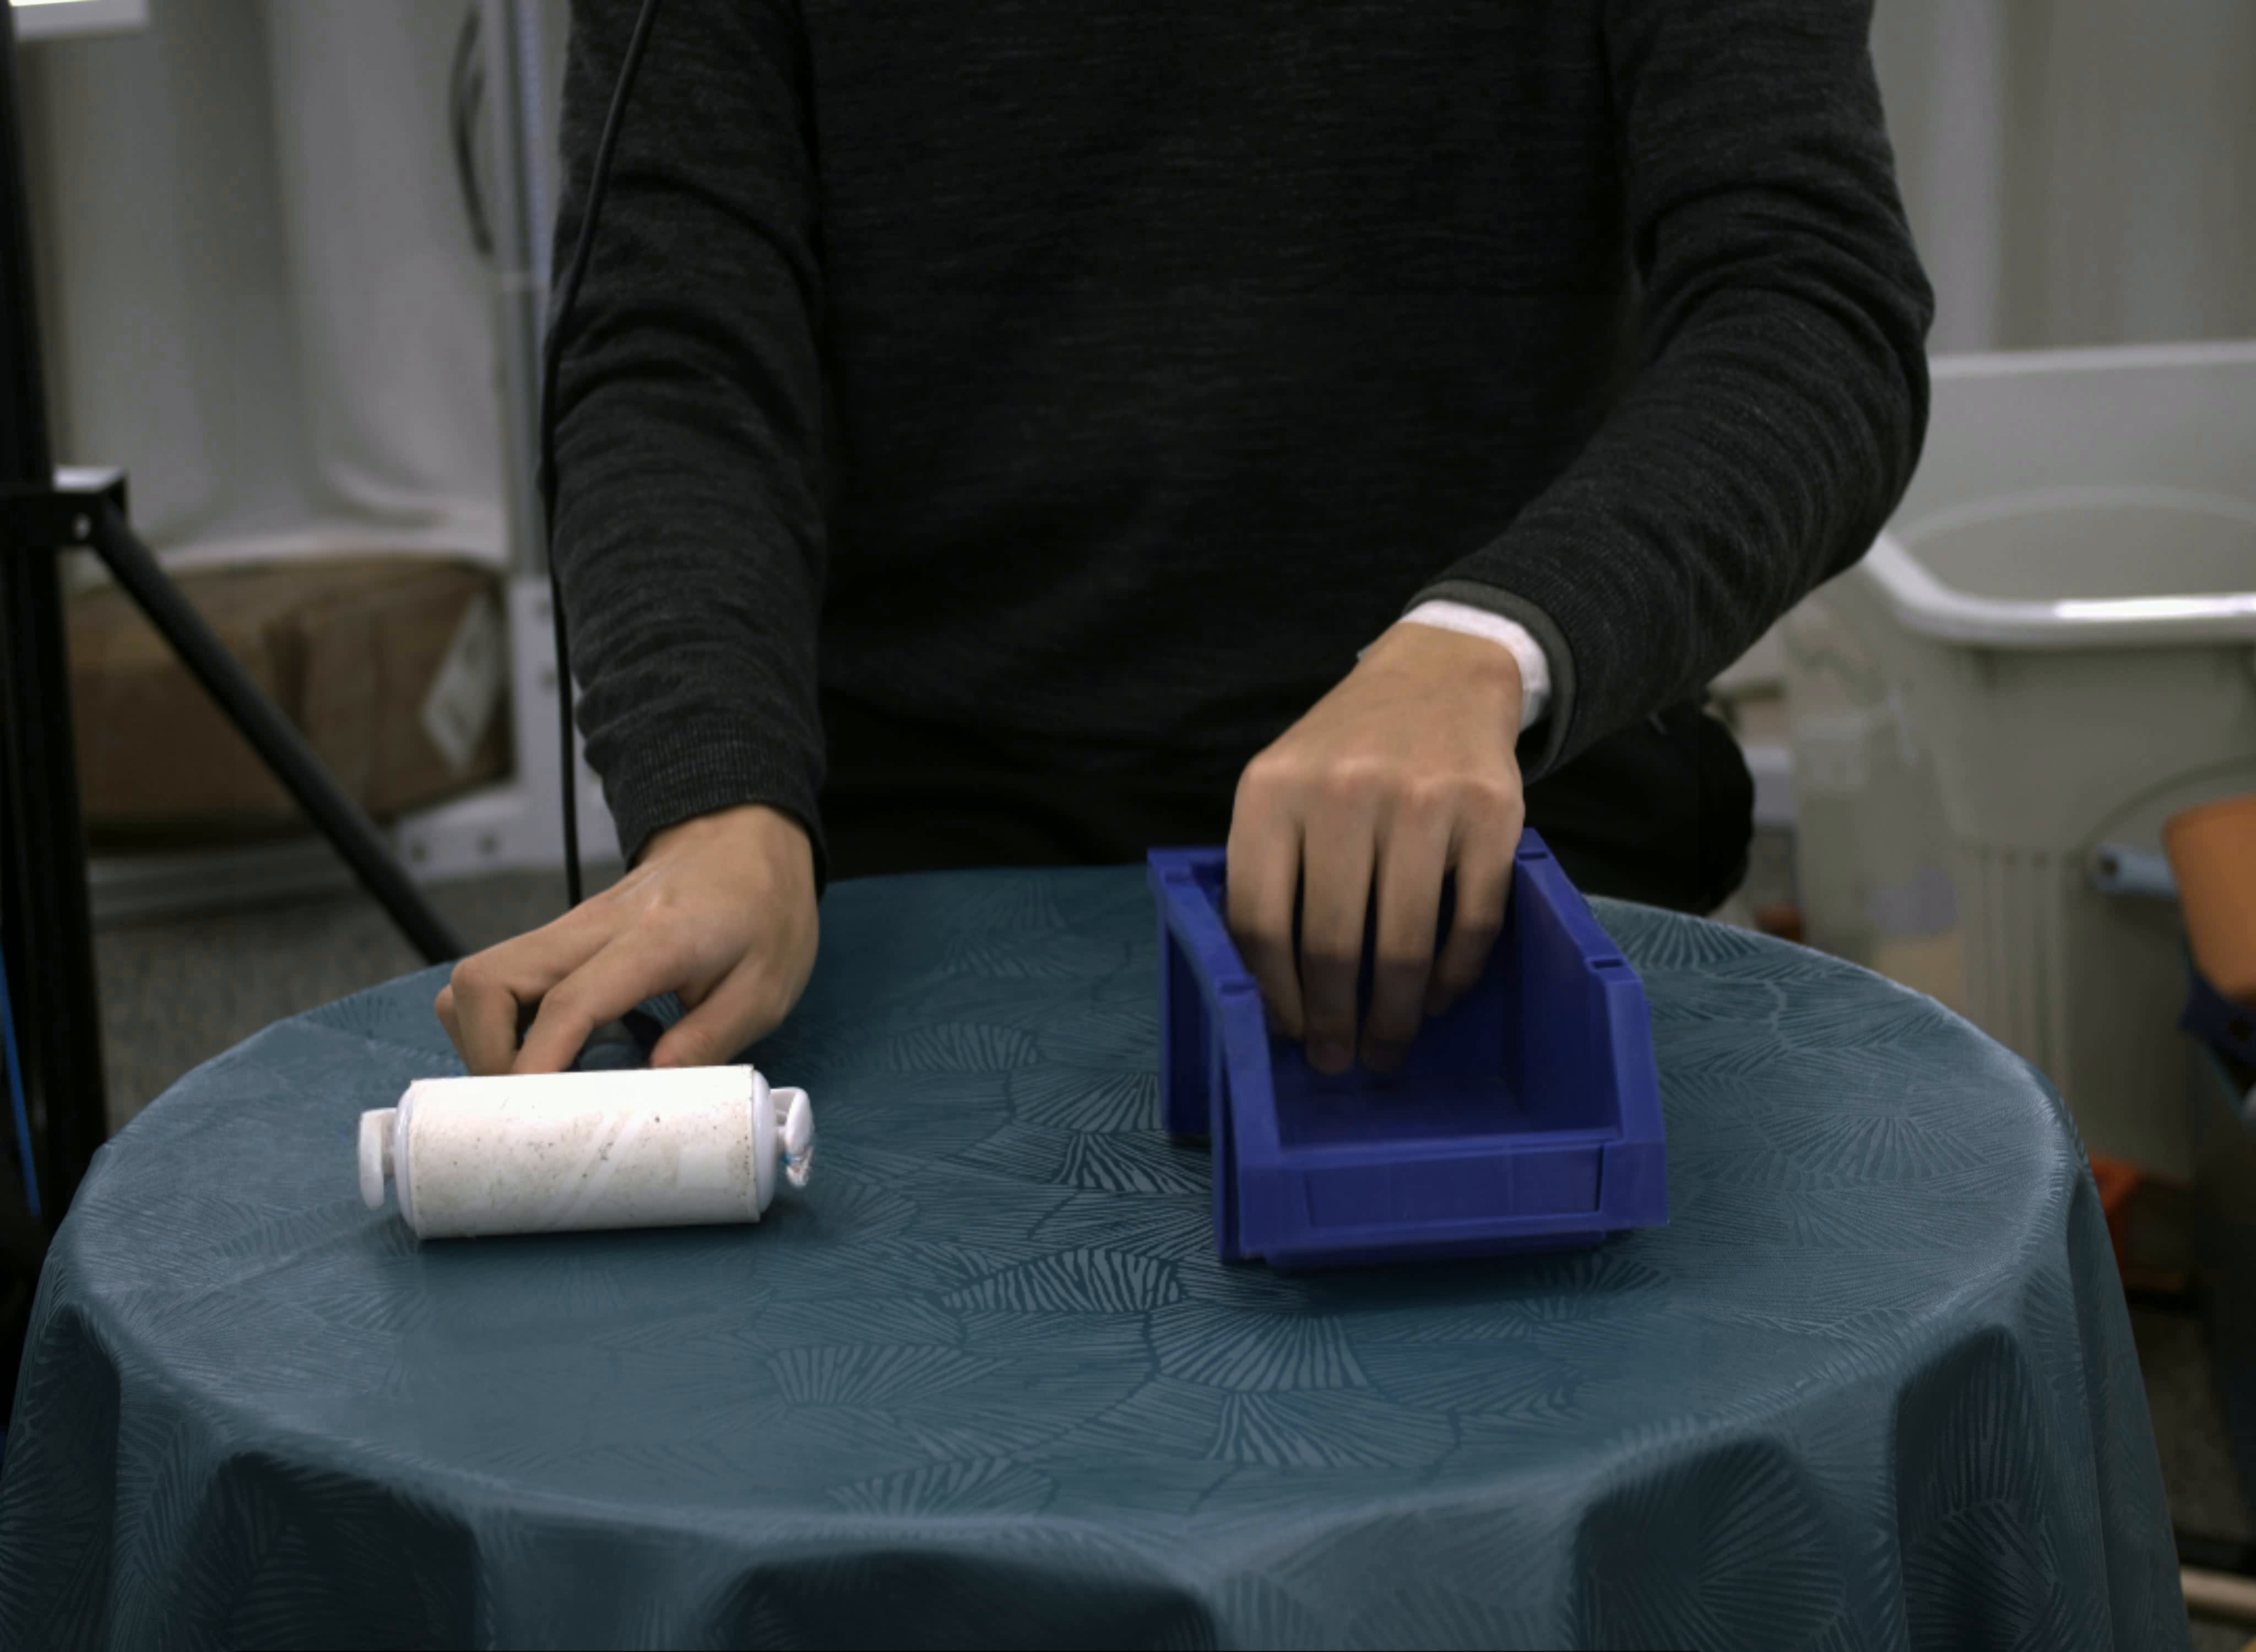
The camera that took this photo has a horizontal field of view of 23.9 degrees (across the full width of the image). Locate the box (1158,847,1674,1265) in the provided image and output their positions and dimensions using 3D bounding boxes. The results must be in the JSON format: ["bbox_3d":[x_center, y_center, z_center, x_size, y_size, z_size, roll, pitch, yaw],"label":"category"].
[{"bbox_3d":[0.082,0.068,1.523,0.123,0.082,0.181,-1,14,-7],"label":"box"}]

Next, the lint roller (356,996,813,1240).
[{"bbox_3d":[-0.159,0.072,1.609,0.132,0.050,0.182,-4,21,1],"label":"lint roller"}]
